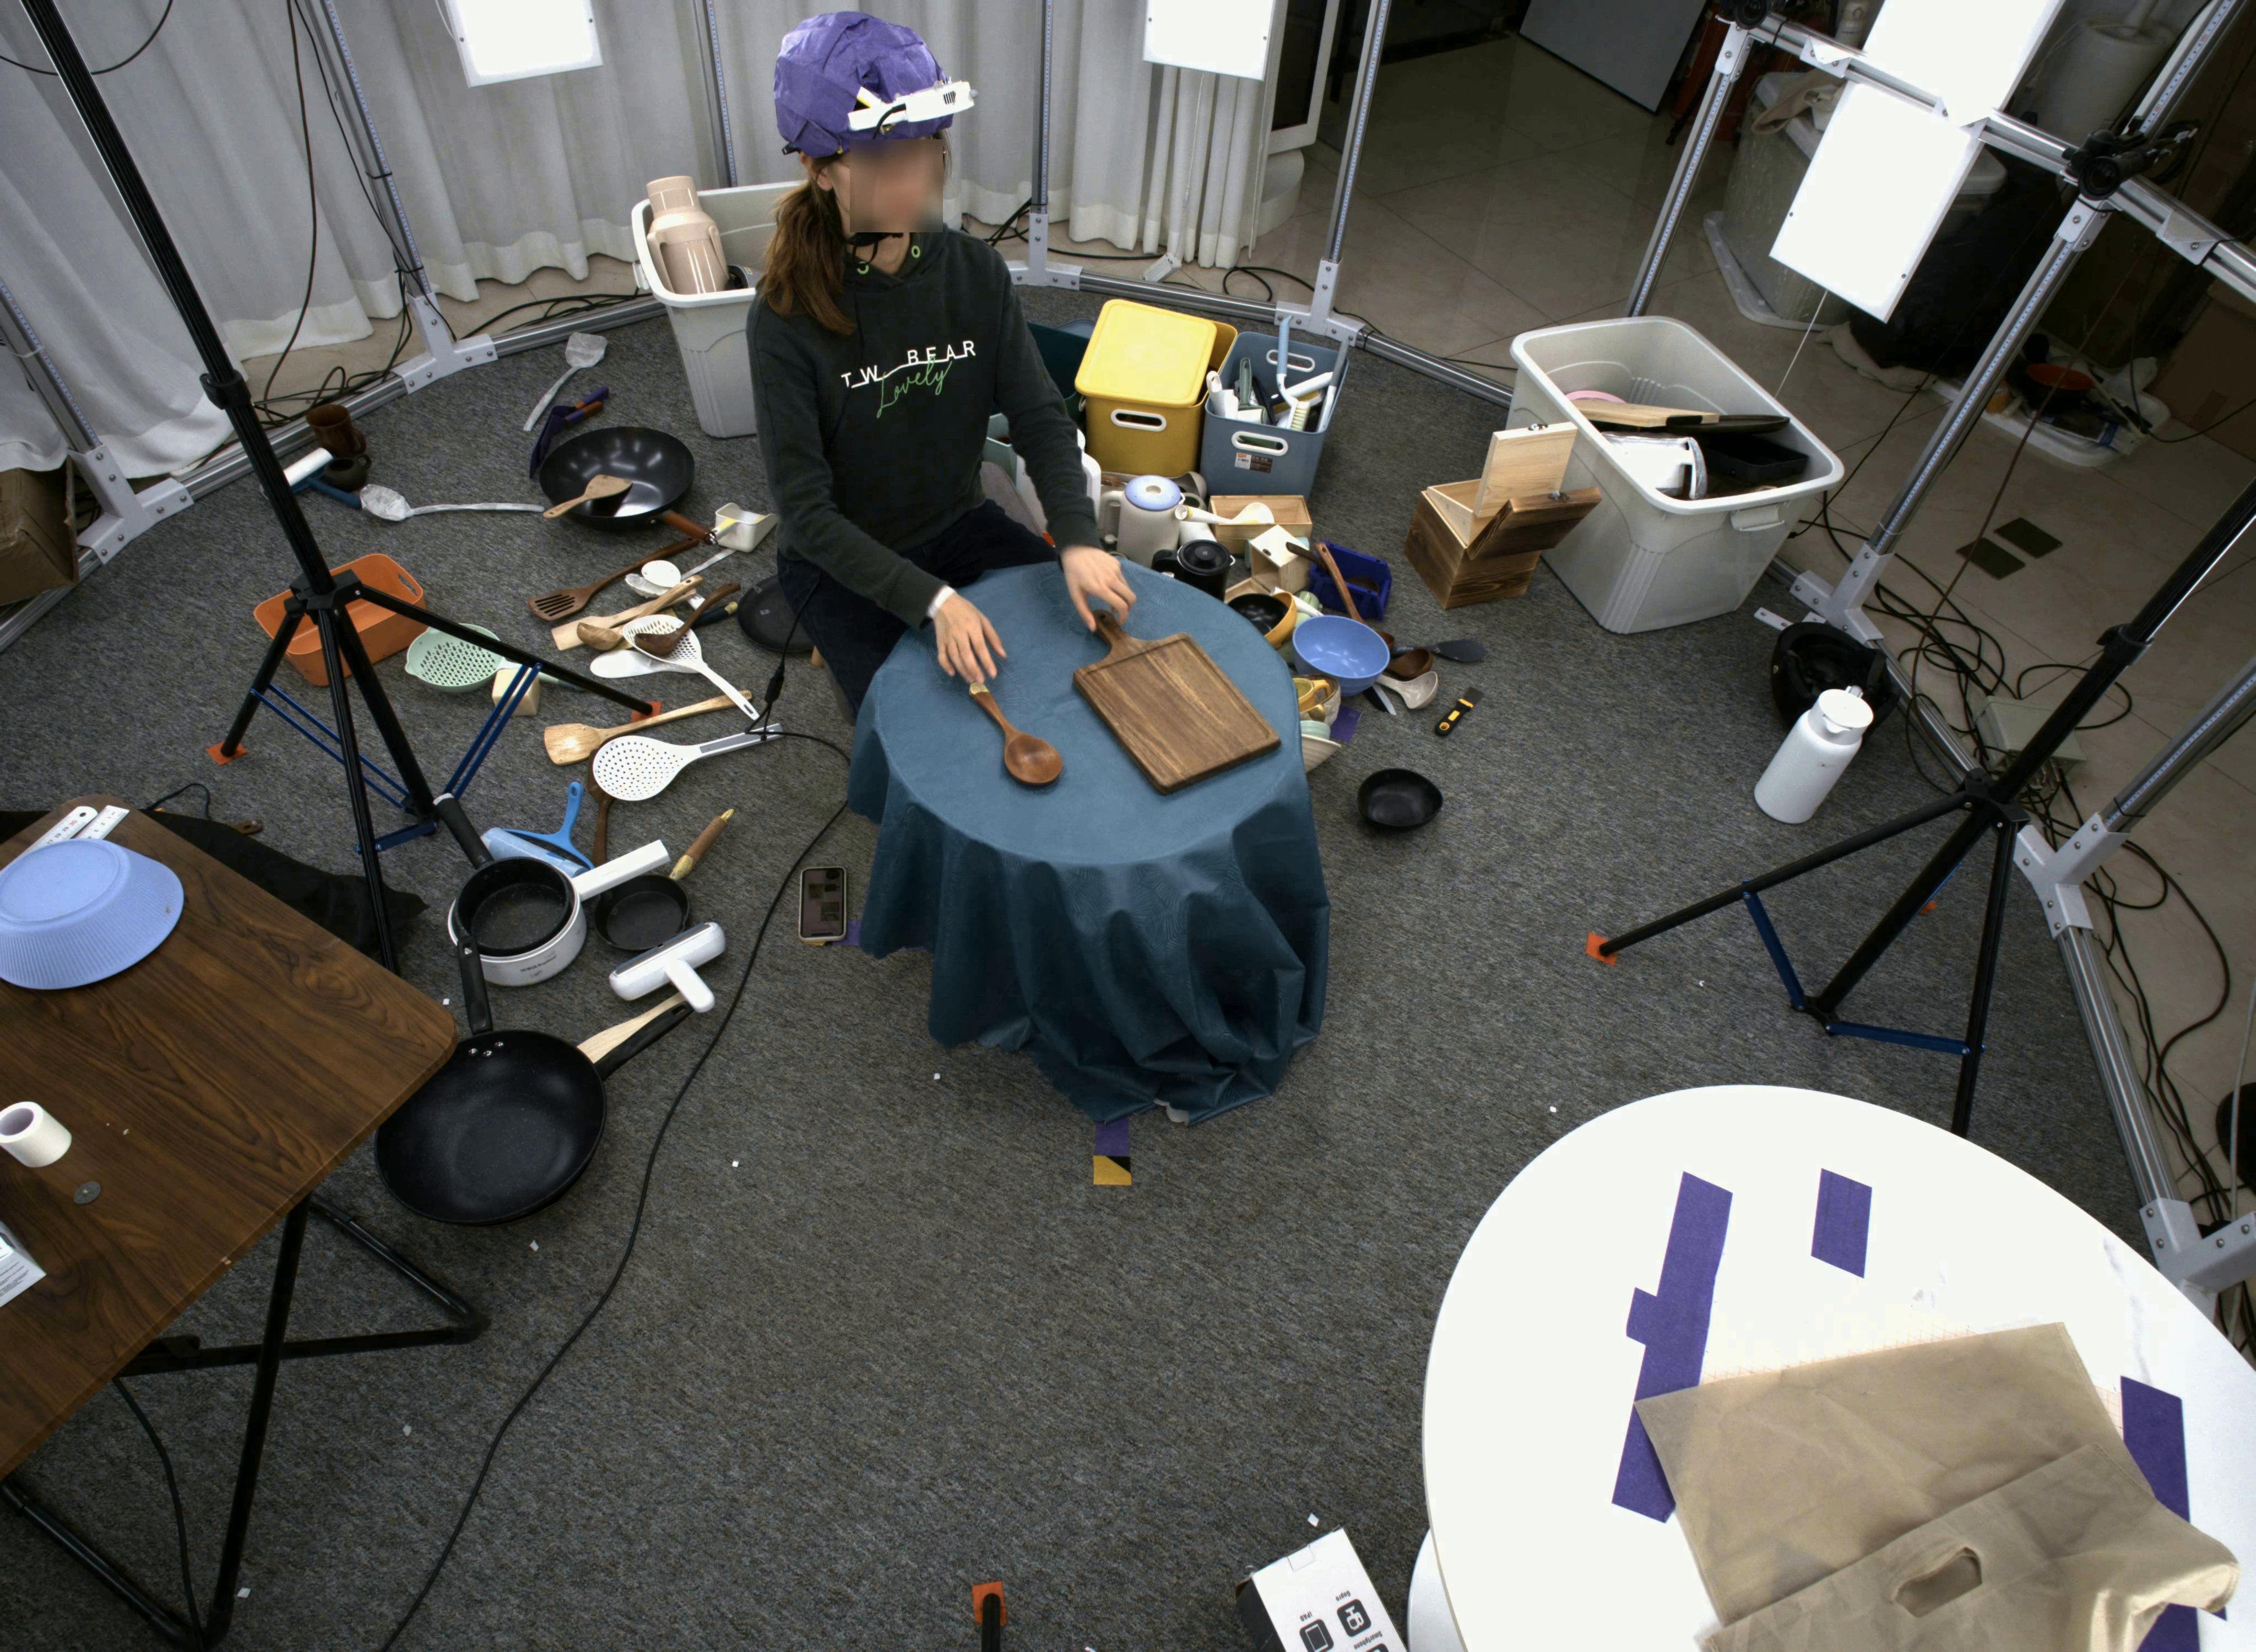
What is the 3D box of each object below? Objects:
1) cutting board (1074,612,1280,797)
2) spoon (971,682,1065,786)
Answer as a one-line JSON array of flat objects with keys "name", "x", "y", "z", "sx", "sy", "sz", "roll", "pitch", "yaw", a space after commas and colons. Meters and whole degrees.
[{"name": "cutting board", "x": 0.042, "y": -0.197, "z": 1.847, "sx": 0.201, "sy": 0.022, "sz": 0.359, "roll": -22, "pitch": 54, "yaw": -21}, {"name": "spoon", "x": -0.159, "y": -0.128, "z": 1.773, "sx": 0.076, "sy": 0.017, "sz": 0.220, "roll": -24, "pitch": 55, "yaw": -20}]
